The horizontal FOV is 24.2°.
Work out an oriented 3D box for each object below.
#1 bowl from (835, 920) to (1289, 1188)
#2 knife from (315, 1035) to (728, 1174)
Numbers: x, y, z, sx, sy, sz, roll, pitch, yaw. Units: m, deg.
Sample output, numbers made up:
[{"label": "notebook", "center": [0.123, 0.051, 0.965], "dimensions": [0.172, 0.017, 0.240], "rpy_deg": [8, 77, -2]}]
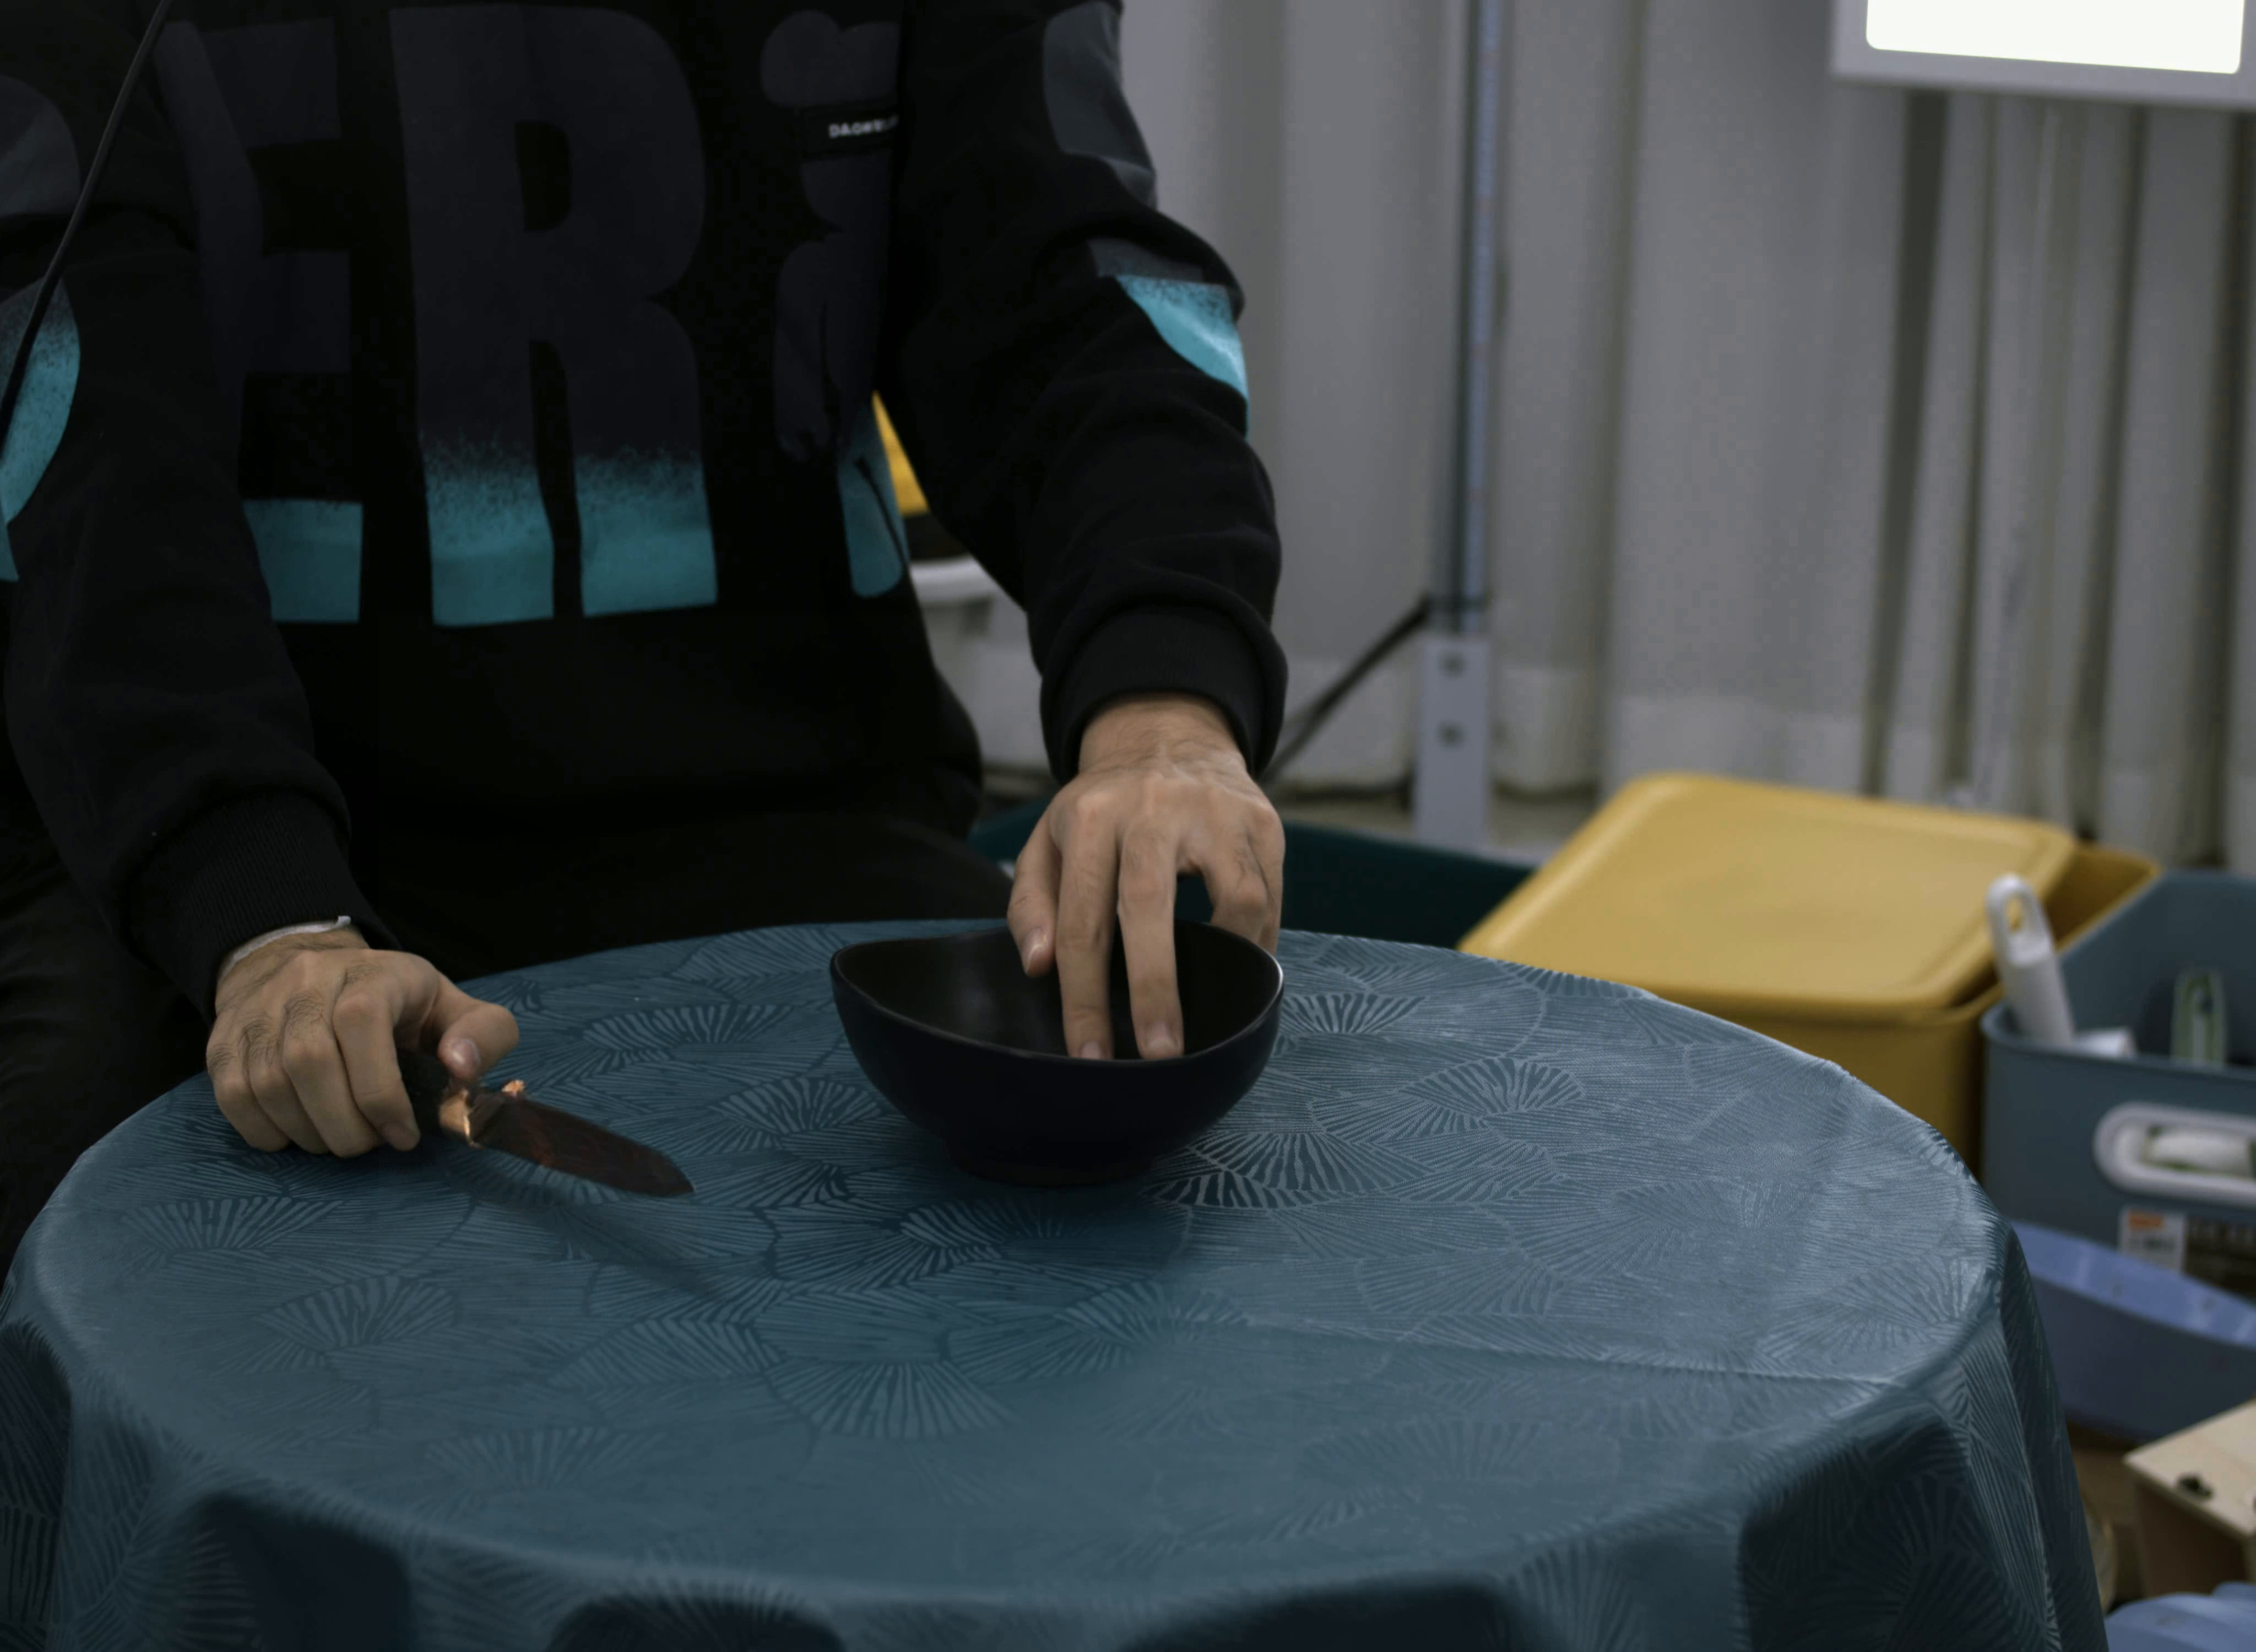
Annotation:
[{"label": "bowl", "center": [-0.023, 0.073, 1.643], "dimensions": [0.138, 0.067, 0.168], "rpy_deg": [-6, 15, -24]}, {"label": "knife", "center": [-0.189, 0.088, 1.611], "dimensions": [0.223, 0.017, 0.026], "rpy_deg": [11, 57, 51]}]
